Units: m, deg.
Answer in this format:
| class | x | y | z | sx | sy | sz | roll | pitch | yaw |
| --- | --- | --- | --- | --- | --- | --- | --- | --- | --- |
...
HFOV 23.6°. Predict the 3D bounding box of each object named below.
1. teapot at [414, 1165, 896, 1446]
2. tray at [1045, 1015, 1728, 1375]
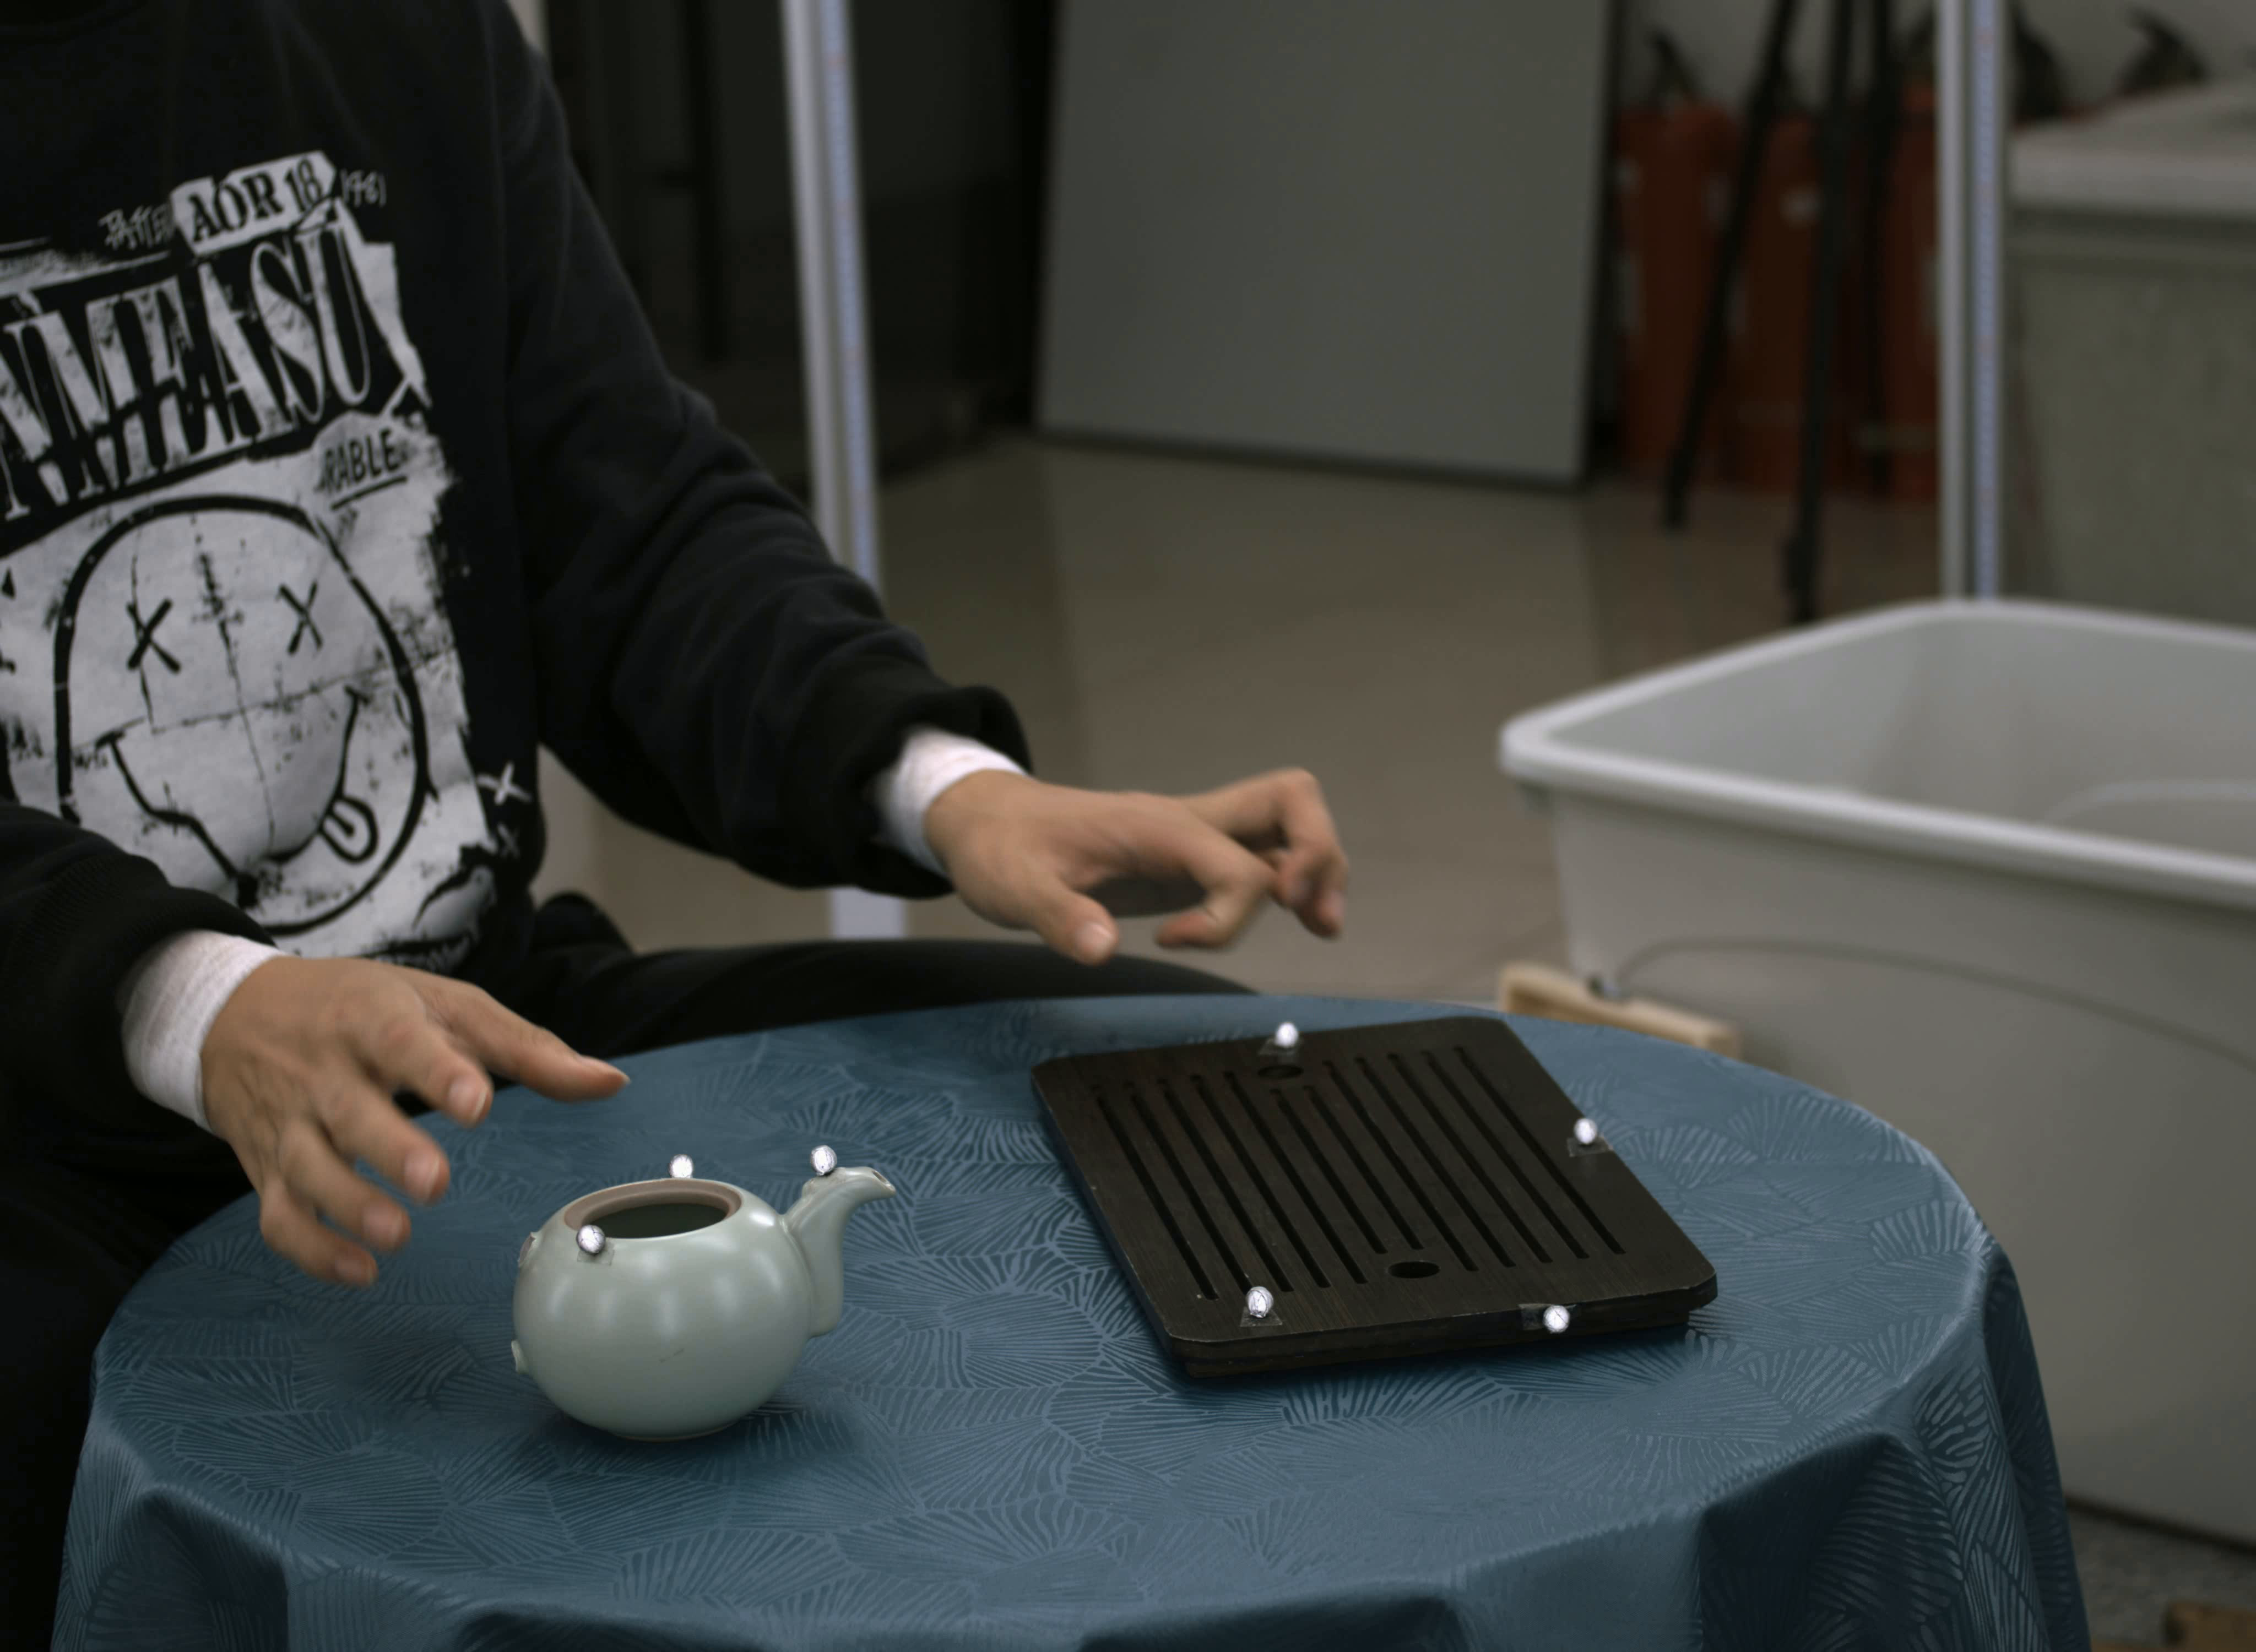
| class | x | y | z | sx | sy | sz | roll | pitch | yaw |
| --- | --- | --- | --- | --- | --- | --- | --- | --- | --- |
| teapot | -0.137 | 0.140 | 1.587 | 0.141 | 0.075 | 0.088 | -3 | 14 | -4 |
| tray | 0.076 | 0.116 | 1.736 | 0.167 | 0.019 | 0.307 | -6 | 14 | -7 |
